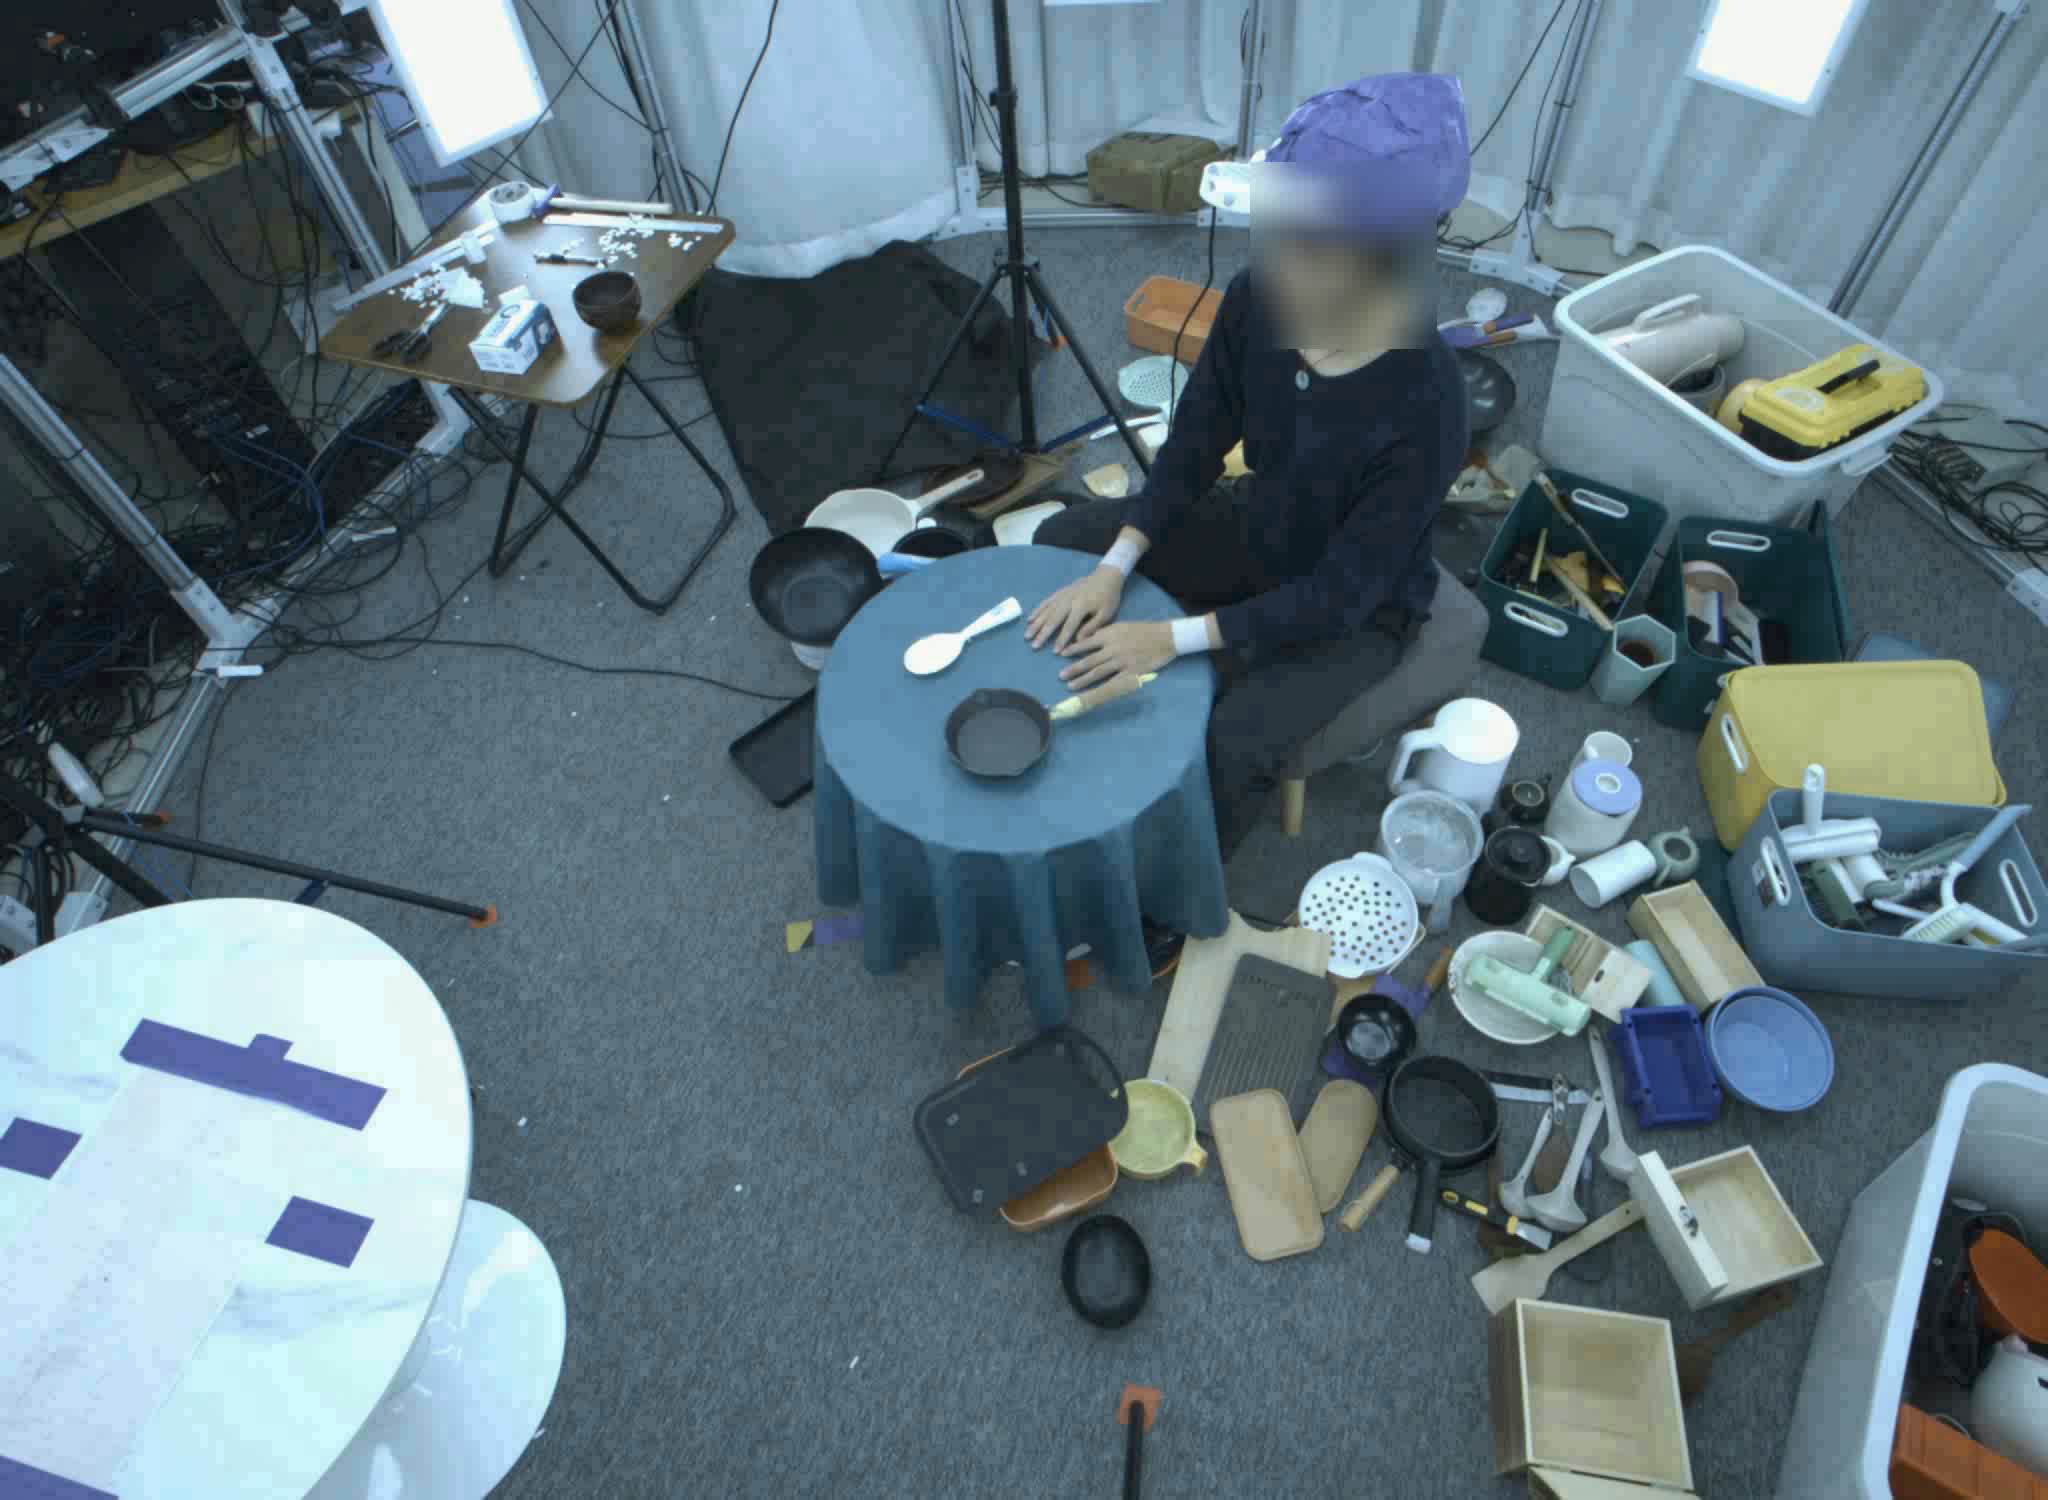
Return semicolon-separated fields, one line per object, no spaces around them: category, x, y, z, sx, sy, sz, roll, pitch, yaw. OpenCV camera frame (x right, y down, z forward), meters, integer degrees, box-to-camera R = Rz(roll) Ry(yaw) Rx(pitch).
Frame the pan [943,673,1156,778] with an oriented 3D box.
pan;0.042;-0.050;1.790;0.326;0.050;0.166;-18;56;-8

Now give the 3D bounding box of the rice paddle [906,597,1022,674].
rice paddle;-0.093;-0.177;1.898;0.207;0.030;0.067;-32;58;-20
